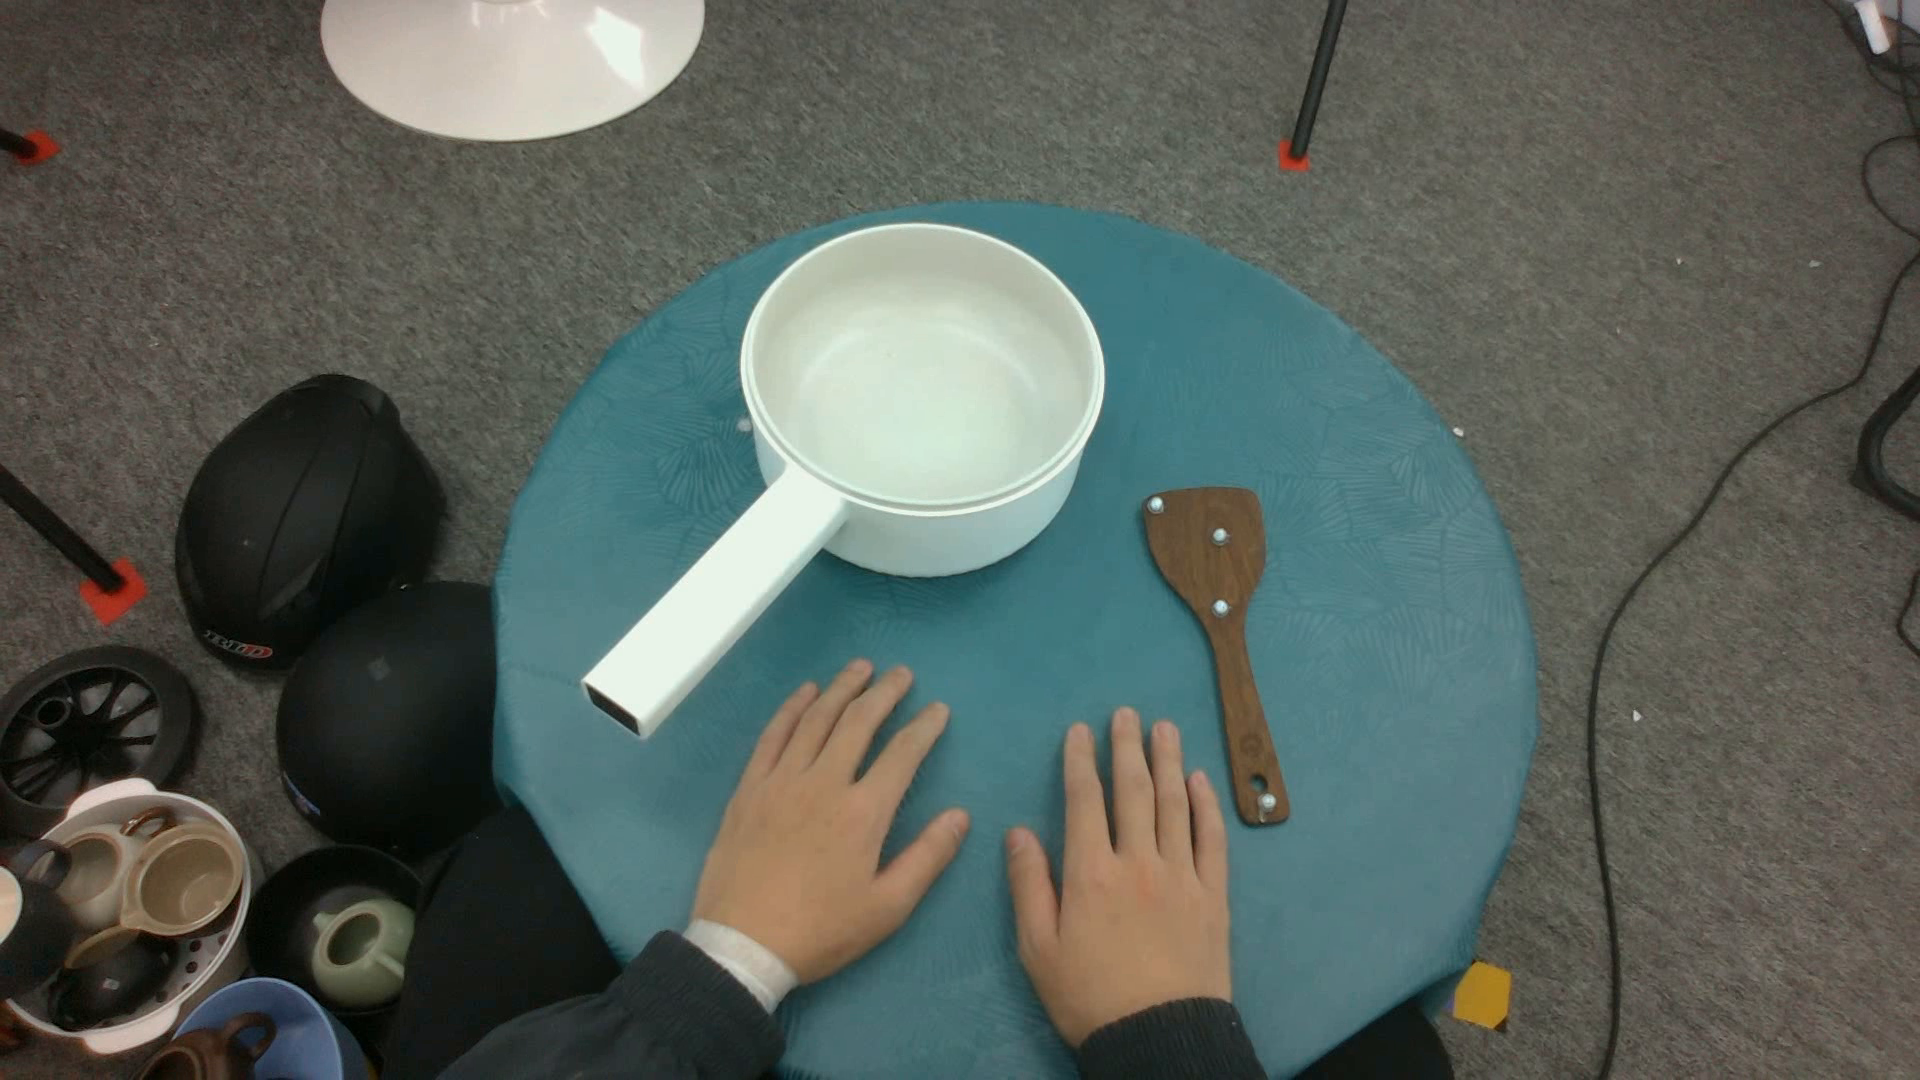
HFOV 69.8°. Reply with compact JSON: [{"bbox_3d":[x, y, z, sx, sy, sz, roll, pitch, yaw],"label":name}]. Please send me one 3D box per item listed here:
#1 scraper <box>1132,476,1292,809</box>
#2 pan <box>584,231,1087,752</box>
[{"bbox_3d":[0.154,0.054,0.797,0.076,0.011,0.212,-5,60,-6],"label":"scraper"},{"bbox_3d":[-0.071,-0.019,0.776,0.201,0.101,0.356,30,63,14],"label":"pan"}]
